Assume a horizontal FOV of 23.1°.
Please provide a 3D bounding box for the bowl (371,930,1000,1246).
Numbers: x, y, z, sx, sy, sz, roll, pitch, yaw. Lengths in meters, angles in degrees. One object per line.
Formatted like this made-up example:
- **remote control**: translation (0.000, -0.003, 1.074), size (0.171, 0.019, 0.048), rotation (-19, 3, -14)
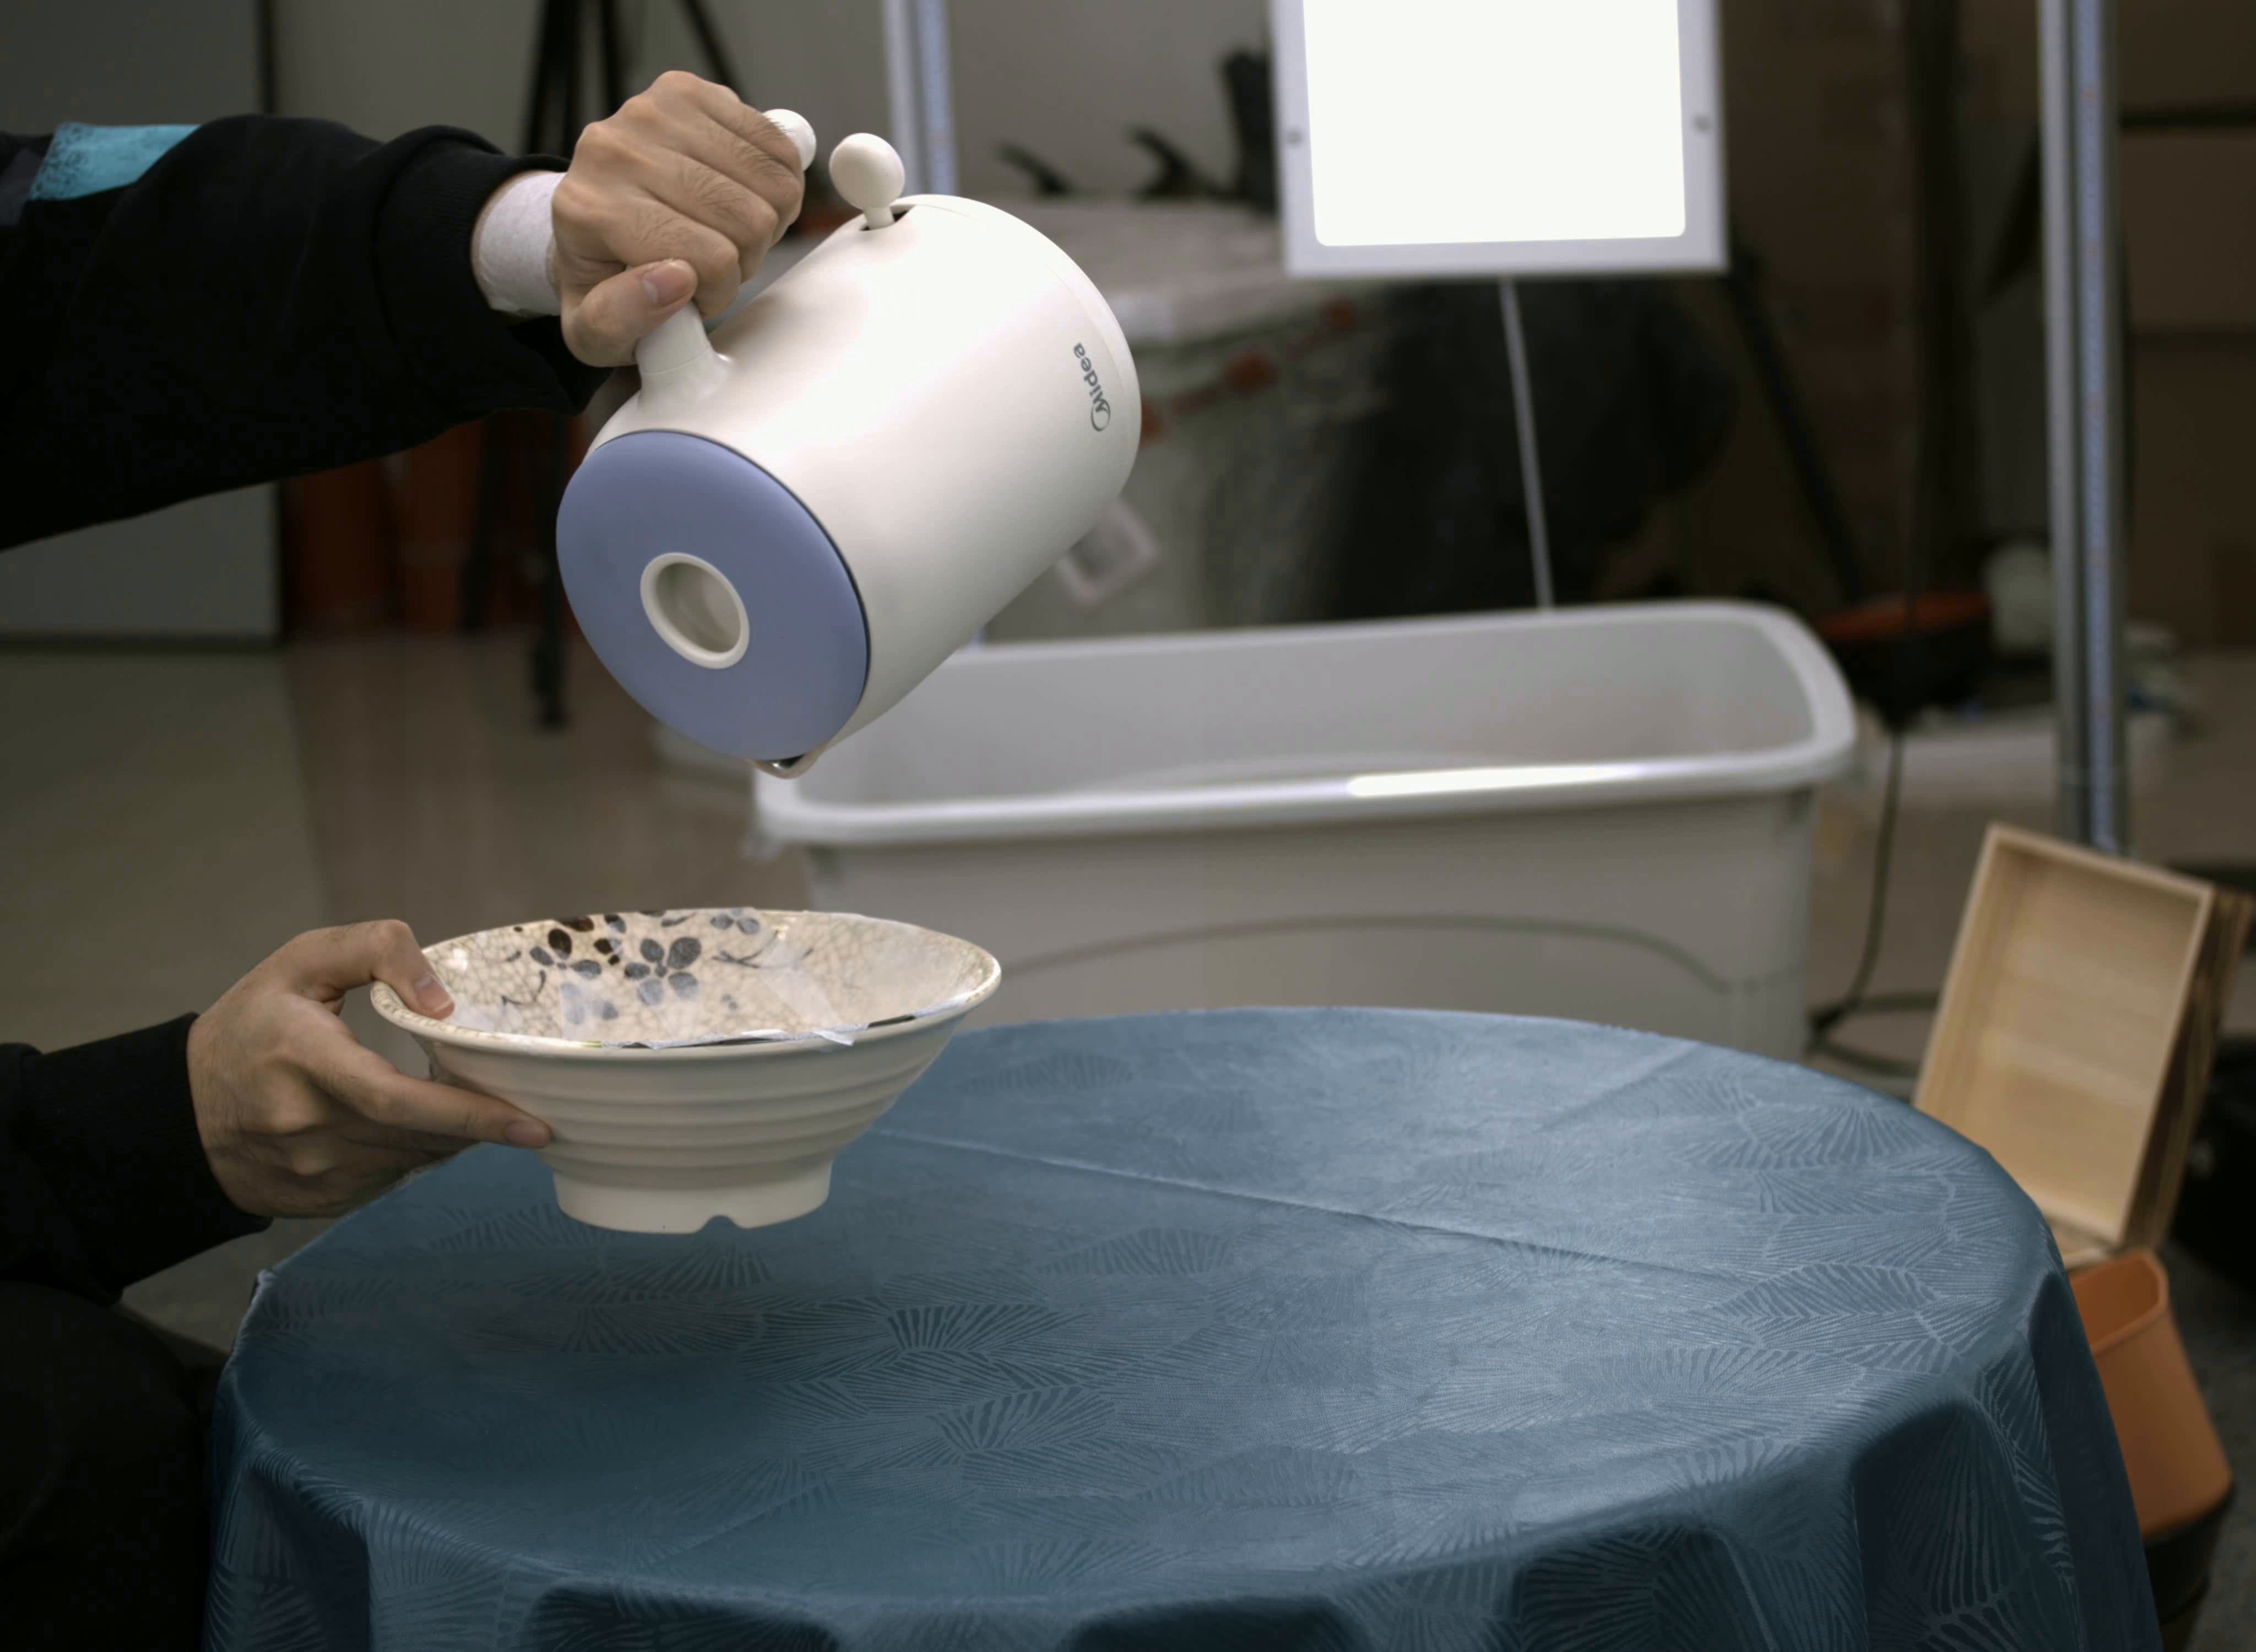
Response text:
- **bowl**: translation (-0.139, 0.088, 1.778), size (0.203, 0.078, 0.204), rotation (-5, 8, -1)

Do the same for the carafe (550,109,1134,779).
- **carafe**: translation (-0.101, -0.136, 1.795), size (0.135, 0.191, 0.178), rotation (-4, 25, 39)
